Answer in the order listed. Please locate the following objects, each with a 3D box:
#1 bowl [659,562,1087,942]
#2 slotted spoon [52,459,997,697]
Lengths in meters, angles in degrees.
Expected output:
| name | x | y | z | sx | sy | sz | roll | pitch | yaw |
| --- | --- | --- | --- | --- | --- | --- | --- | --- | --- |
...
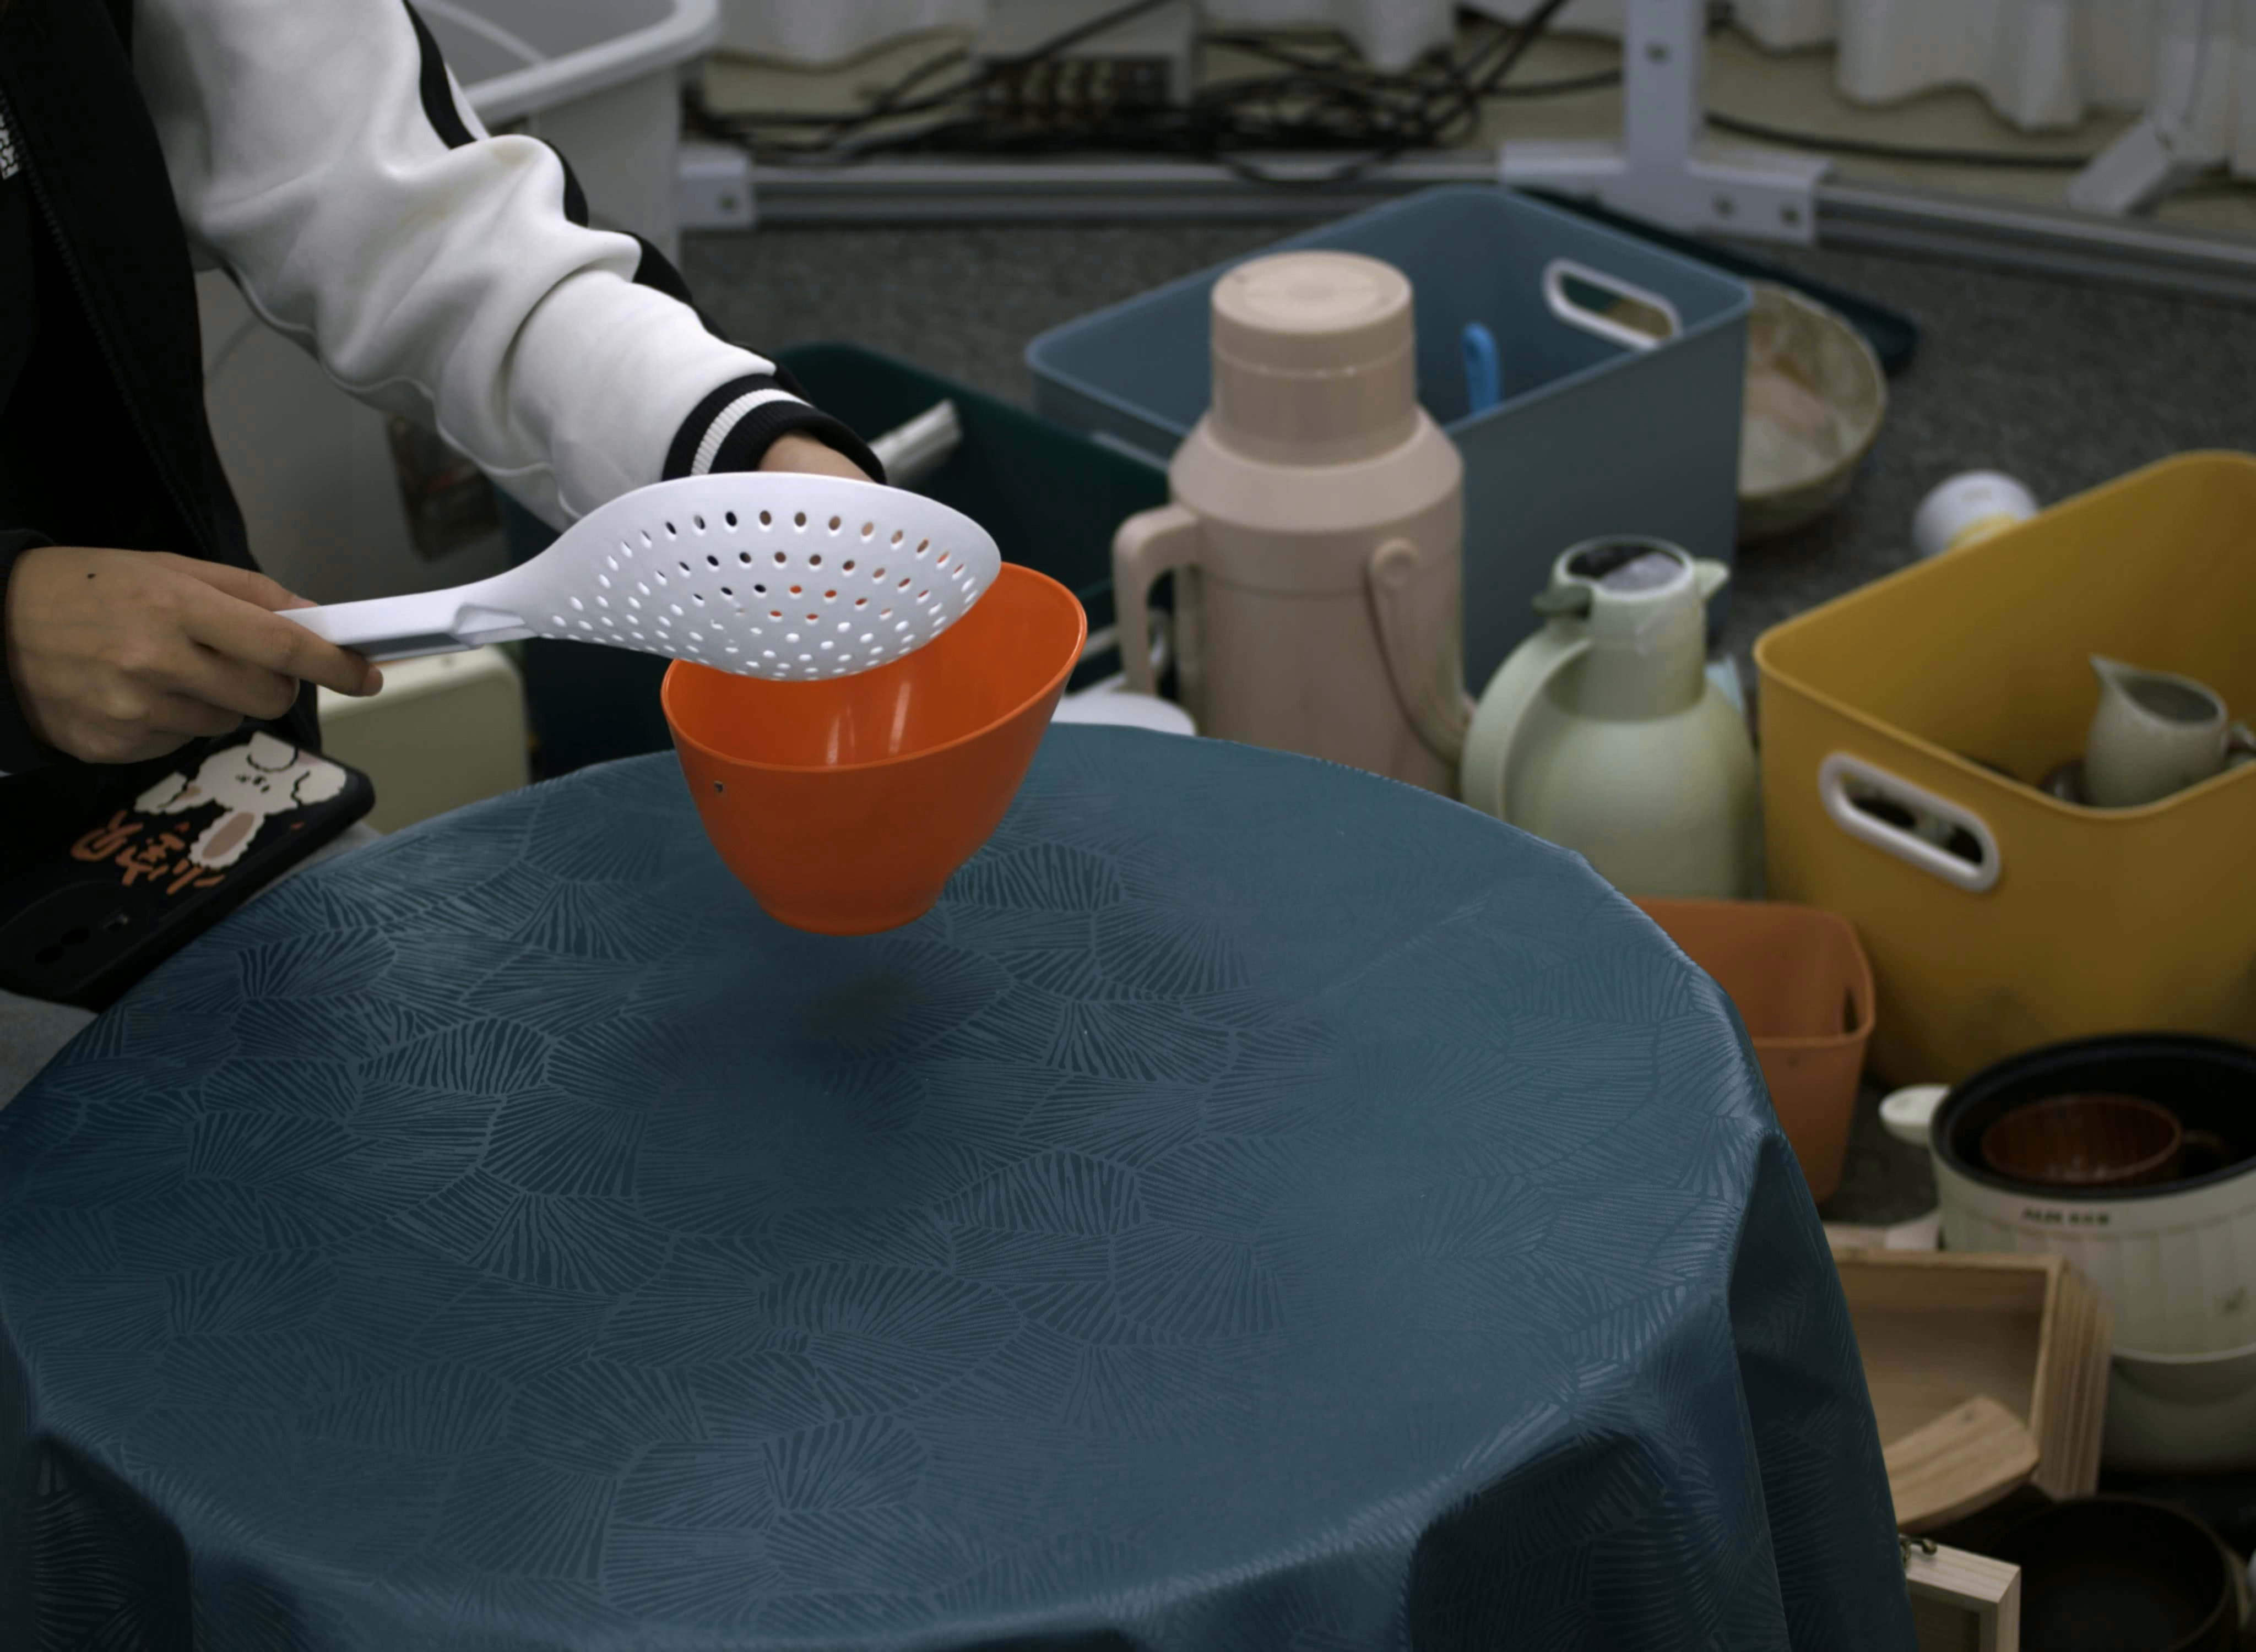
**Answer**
| name | x | y | z | sx | sy | sz | roll | pitch | yaw |
| --- | --- | --- | --- | --- | --- | --- | --- | --- | --- |
| bowl | -0.087 | -0.020 | 1.940 | 0.147 | 0.103 | 0.150 | 0 | 30 | 0 |
| slotted spoon | -0.207 | -0.073 | 1.862 | 0.346 | 0.046 | 0.135 | -2 | -19 | 25 |
